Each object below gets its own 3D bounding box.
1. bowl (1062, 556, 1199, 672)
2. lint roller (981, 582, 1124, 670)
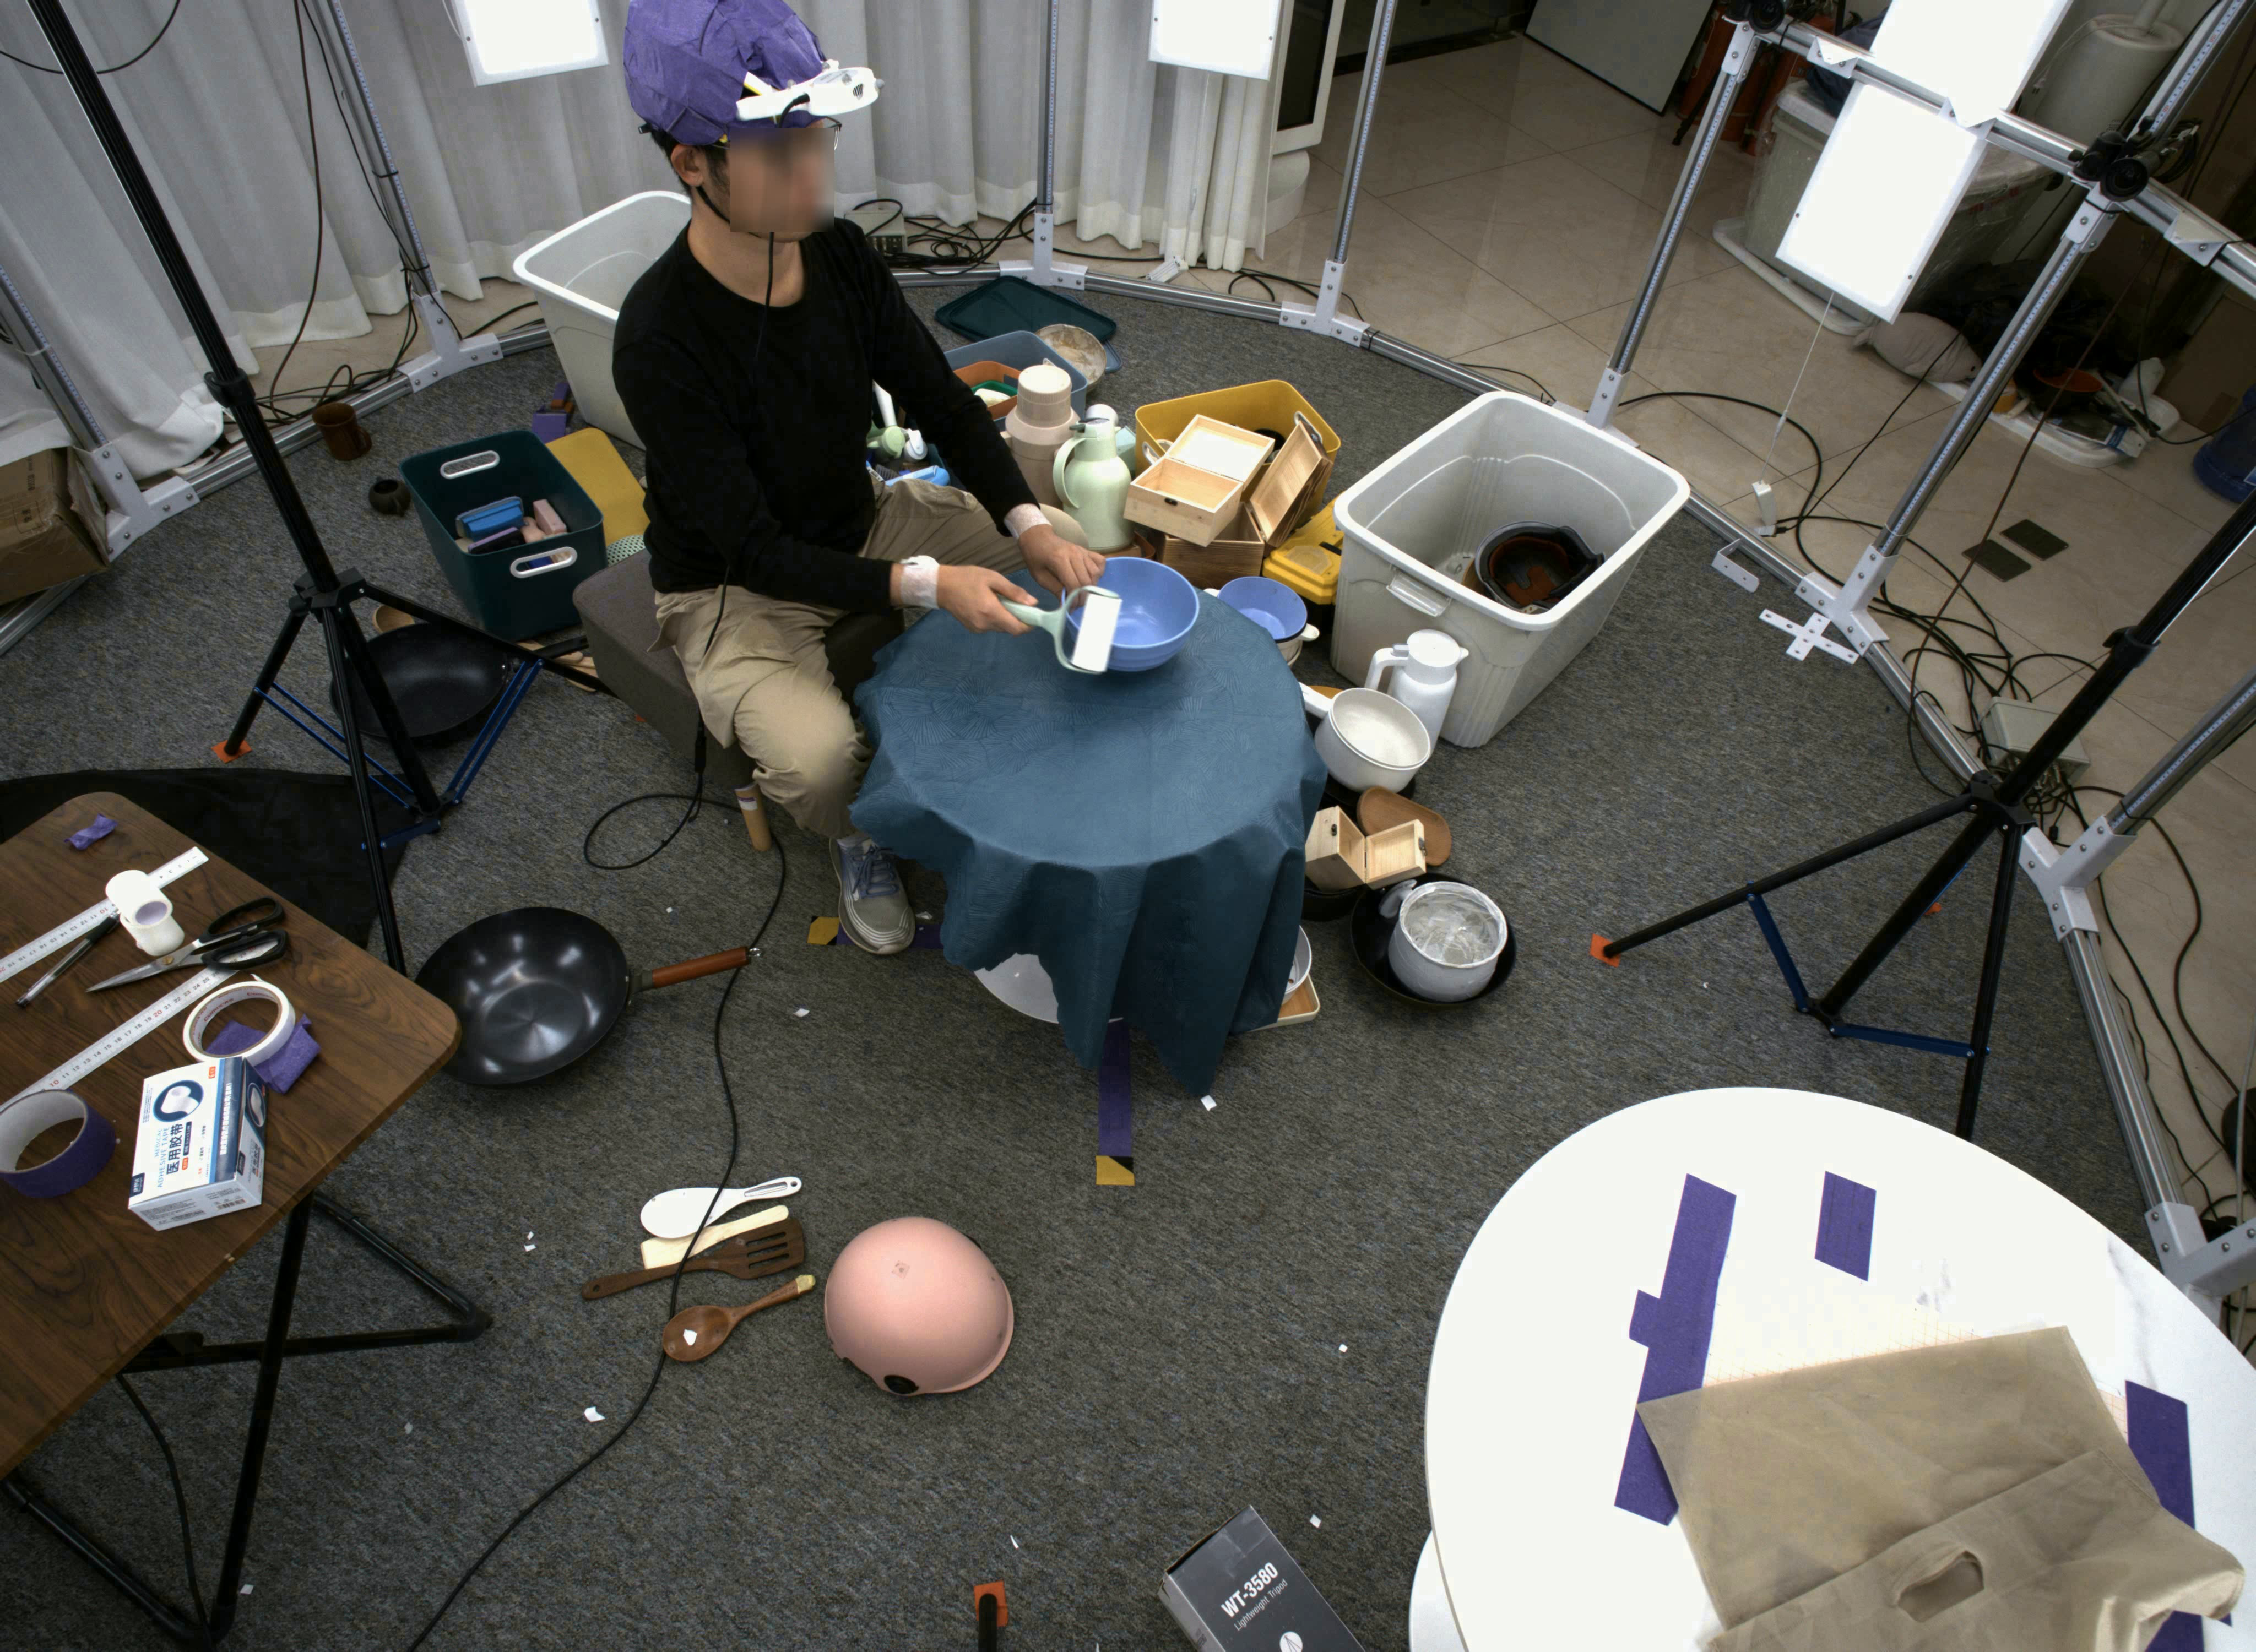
[{"bbox_3d":[0.001,-0.291,1.859,0.196,0.093,0.201,2,50,-3],"label":"bowl"},{"bbox_3d":[-0.108,-0.287,1.748,0.198,0.115,0.049,15,15,8],"label":"lint roller"}]
